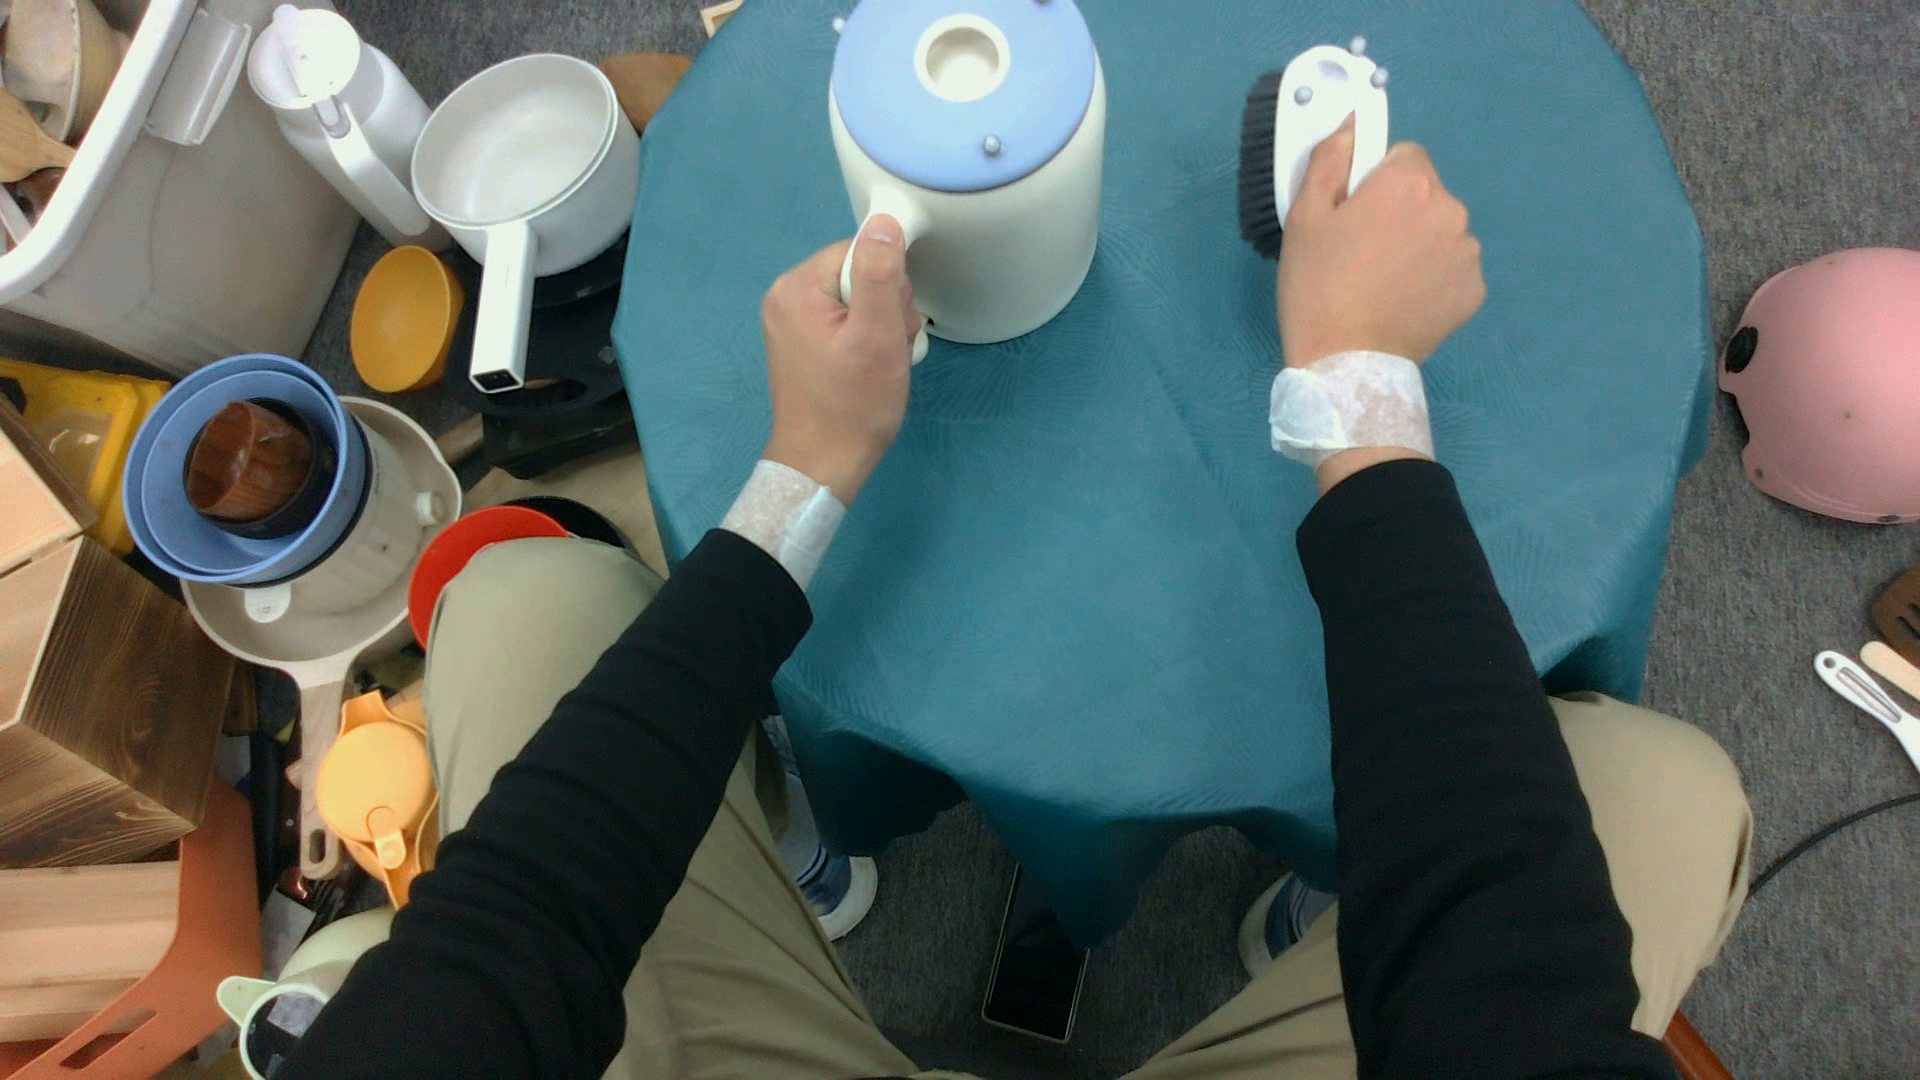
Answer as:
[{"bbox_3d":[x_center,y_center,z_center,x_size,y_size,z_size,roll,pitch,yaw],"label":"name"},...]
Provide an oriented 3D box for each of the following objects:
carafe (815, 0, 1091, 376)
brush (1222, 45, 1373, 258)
[{"bbox_3d":[-0.012,-0.175,0.696,0.132,0.182,0.191,26,80,9],"label":"carafe"},{"bbox_3d":[0.174,-0.197,0.687,0.050,0.072,0.099,9,84,-29],"label":"brush"}]
